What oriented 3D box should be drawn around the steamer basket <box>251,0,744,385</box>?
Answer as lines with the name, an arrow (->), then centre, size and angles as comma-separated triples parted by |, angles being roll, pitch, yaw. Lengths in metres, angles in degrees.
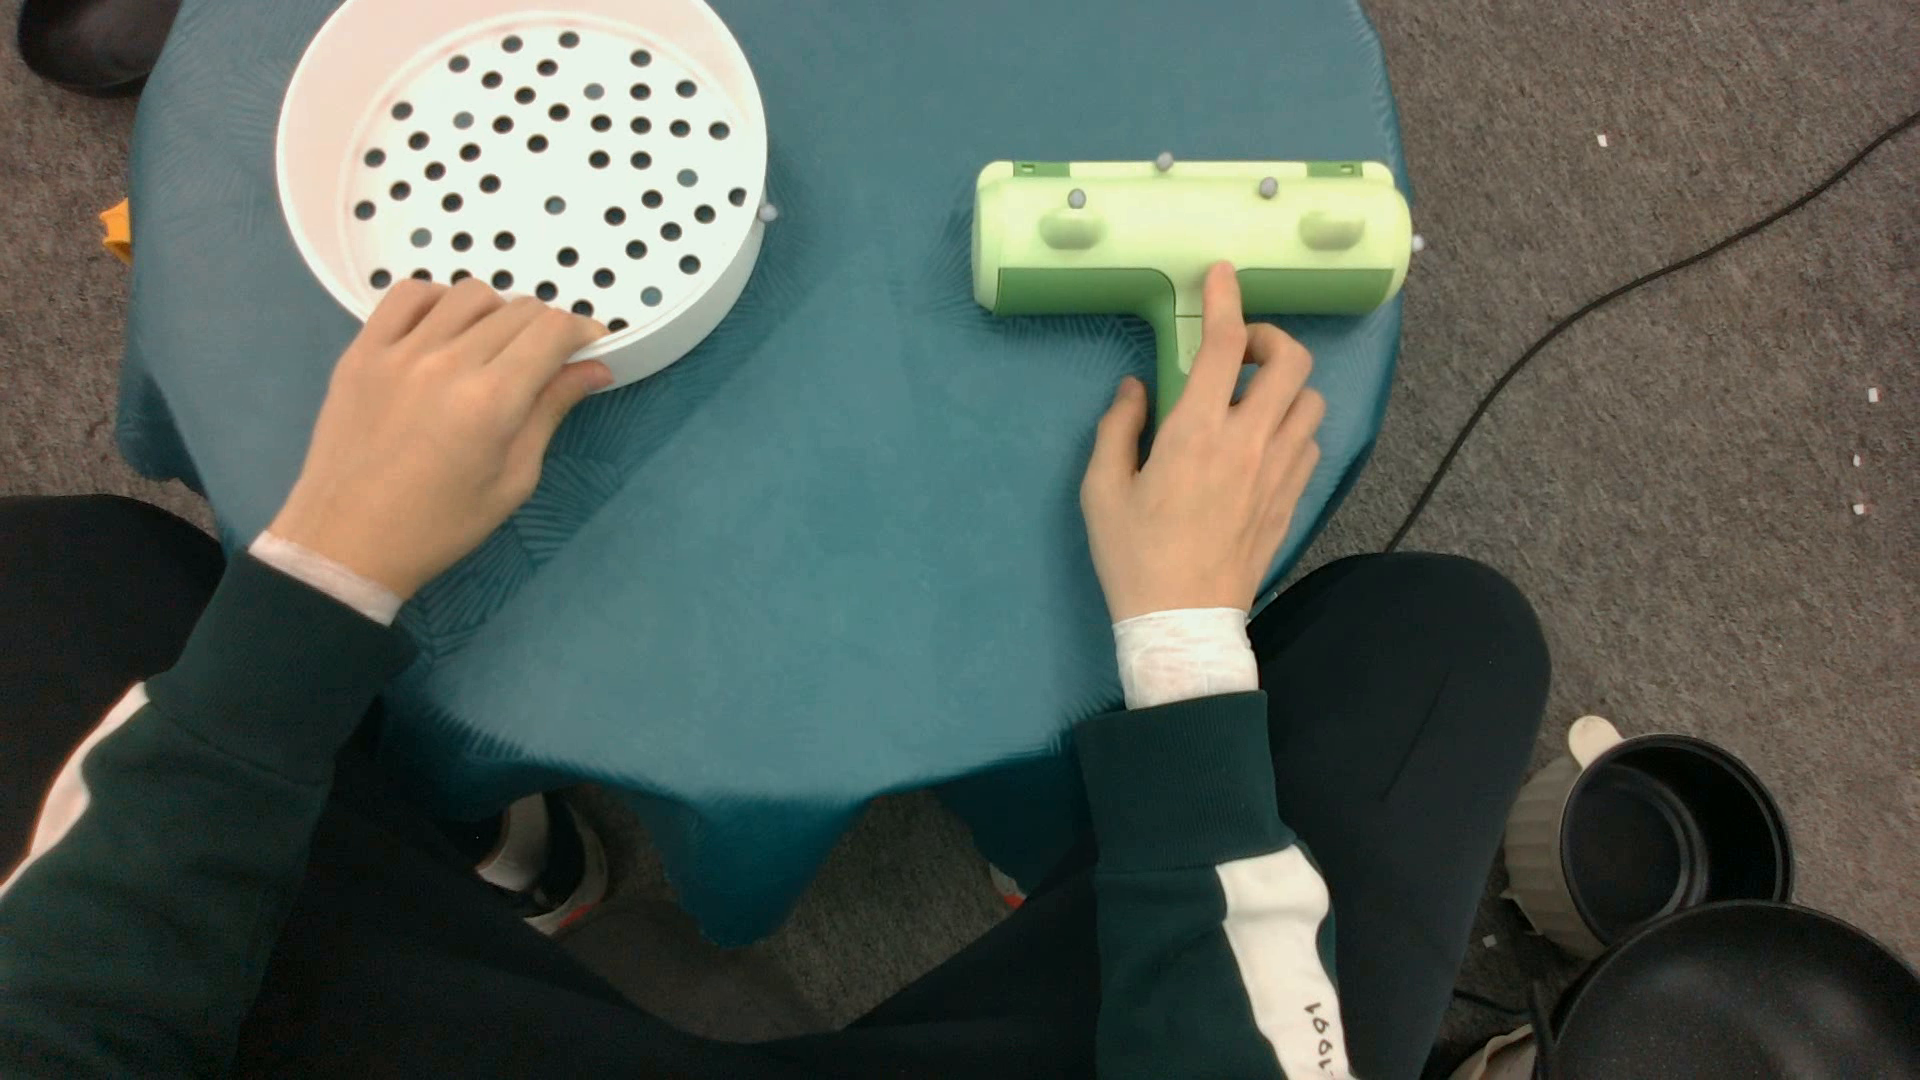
steamer basket -> -0.197, -0.167, 0.609 | 0.202, 0.069, 0.231 | 12, 75, -3

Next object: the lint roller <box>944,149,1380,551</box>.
lint roller -> 0.096, -0.092, 0.614 | 0.199, 0.082, 0.184 | -1, 73, -6
